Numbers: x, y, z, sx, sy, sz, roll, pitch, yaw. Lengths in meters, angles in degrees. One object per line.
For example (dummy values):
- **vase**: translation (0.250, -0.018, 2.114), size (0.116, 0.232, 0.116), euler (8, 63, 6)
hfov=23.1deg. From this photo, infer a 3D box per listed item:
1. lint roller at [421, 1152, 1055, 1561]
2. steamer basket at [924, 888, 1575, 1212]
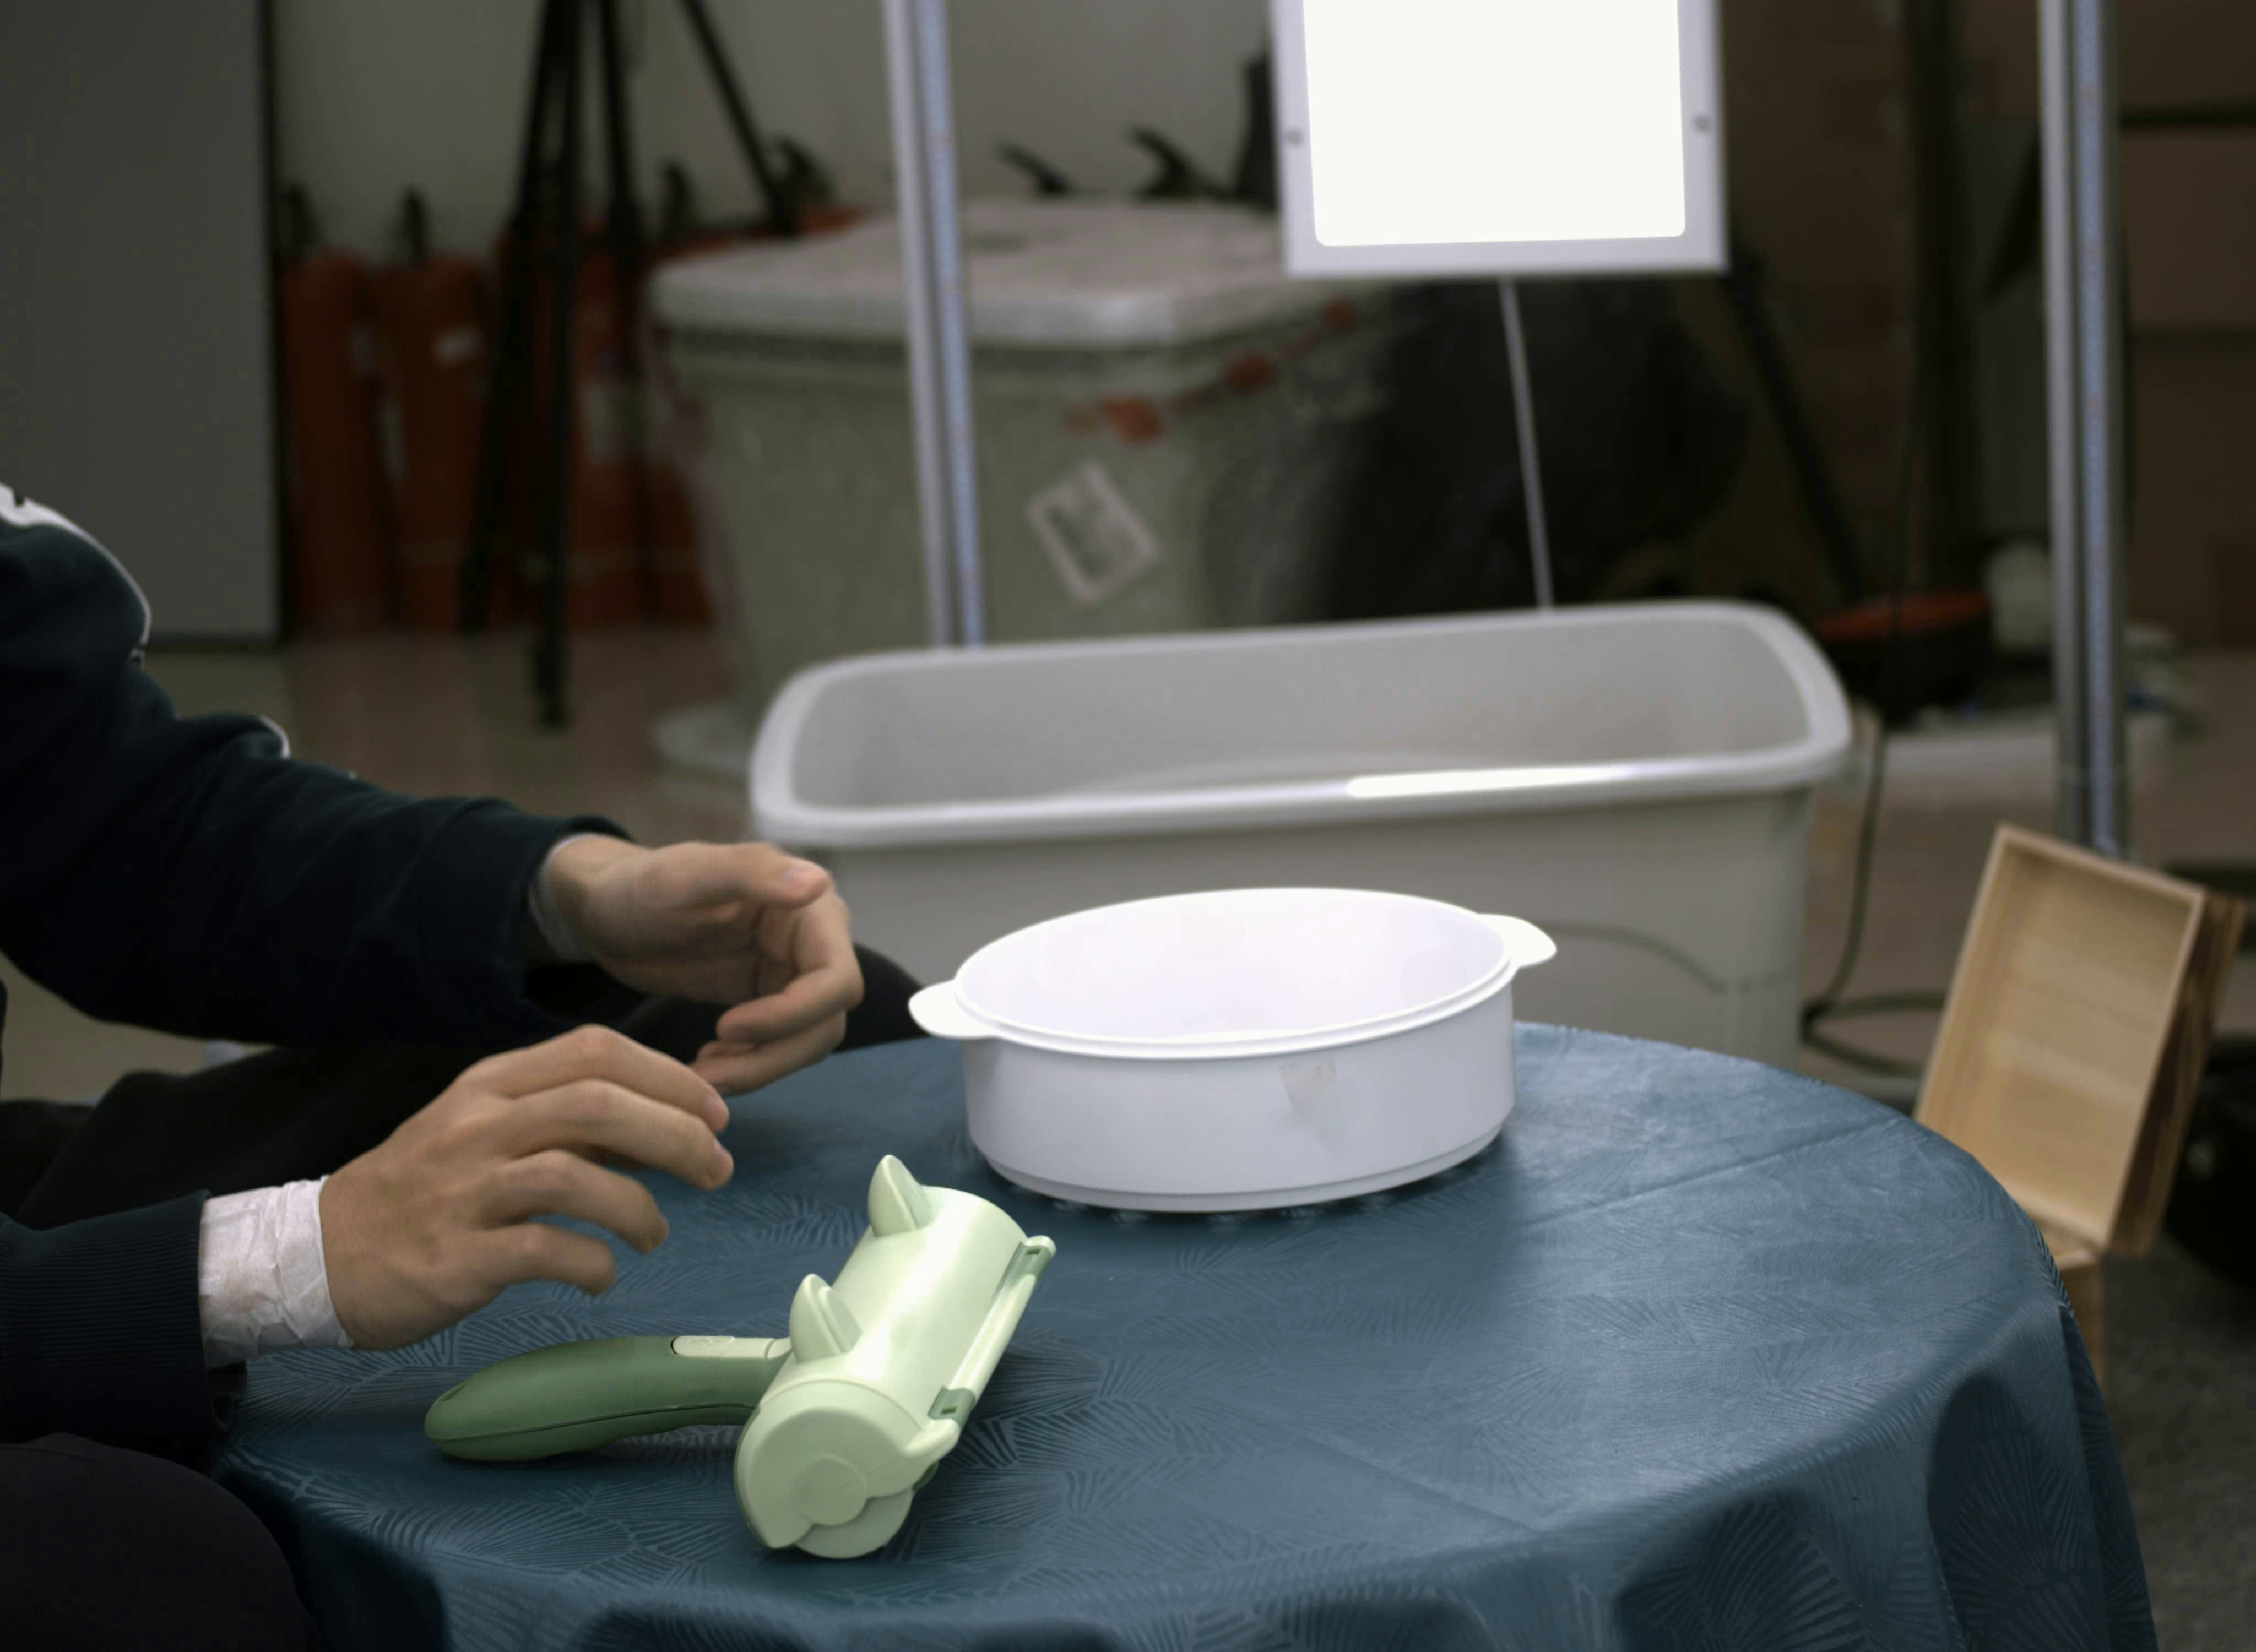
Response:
- **lint roller**: translation (-0.126, 0.154, 1.669), size (0.184, 0.082, 0.196), euler (2, 15, 10)
- **steamer basket**: translation (0.045, 0.079, 1.931), size (0.228, 0.069, 0.203), euler (-6, 14, -11)
